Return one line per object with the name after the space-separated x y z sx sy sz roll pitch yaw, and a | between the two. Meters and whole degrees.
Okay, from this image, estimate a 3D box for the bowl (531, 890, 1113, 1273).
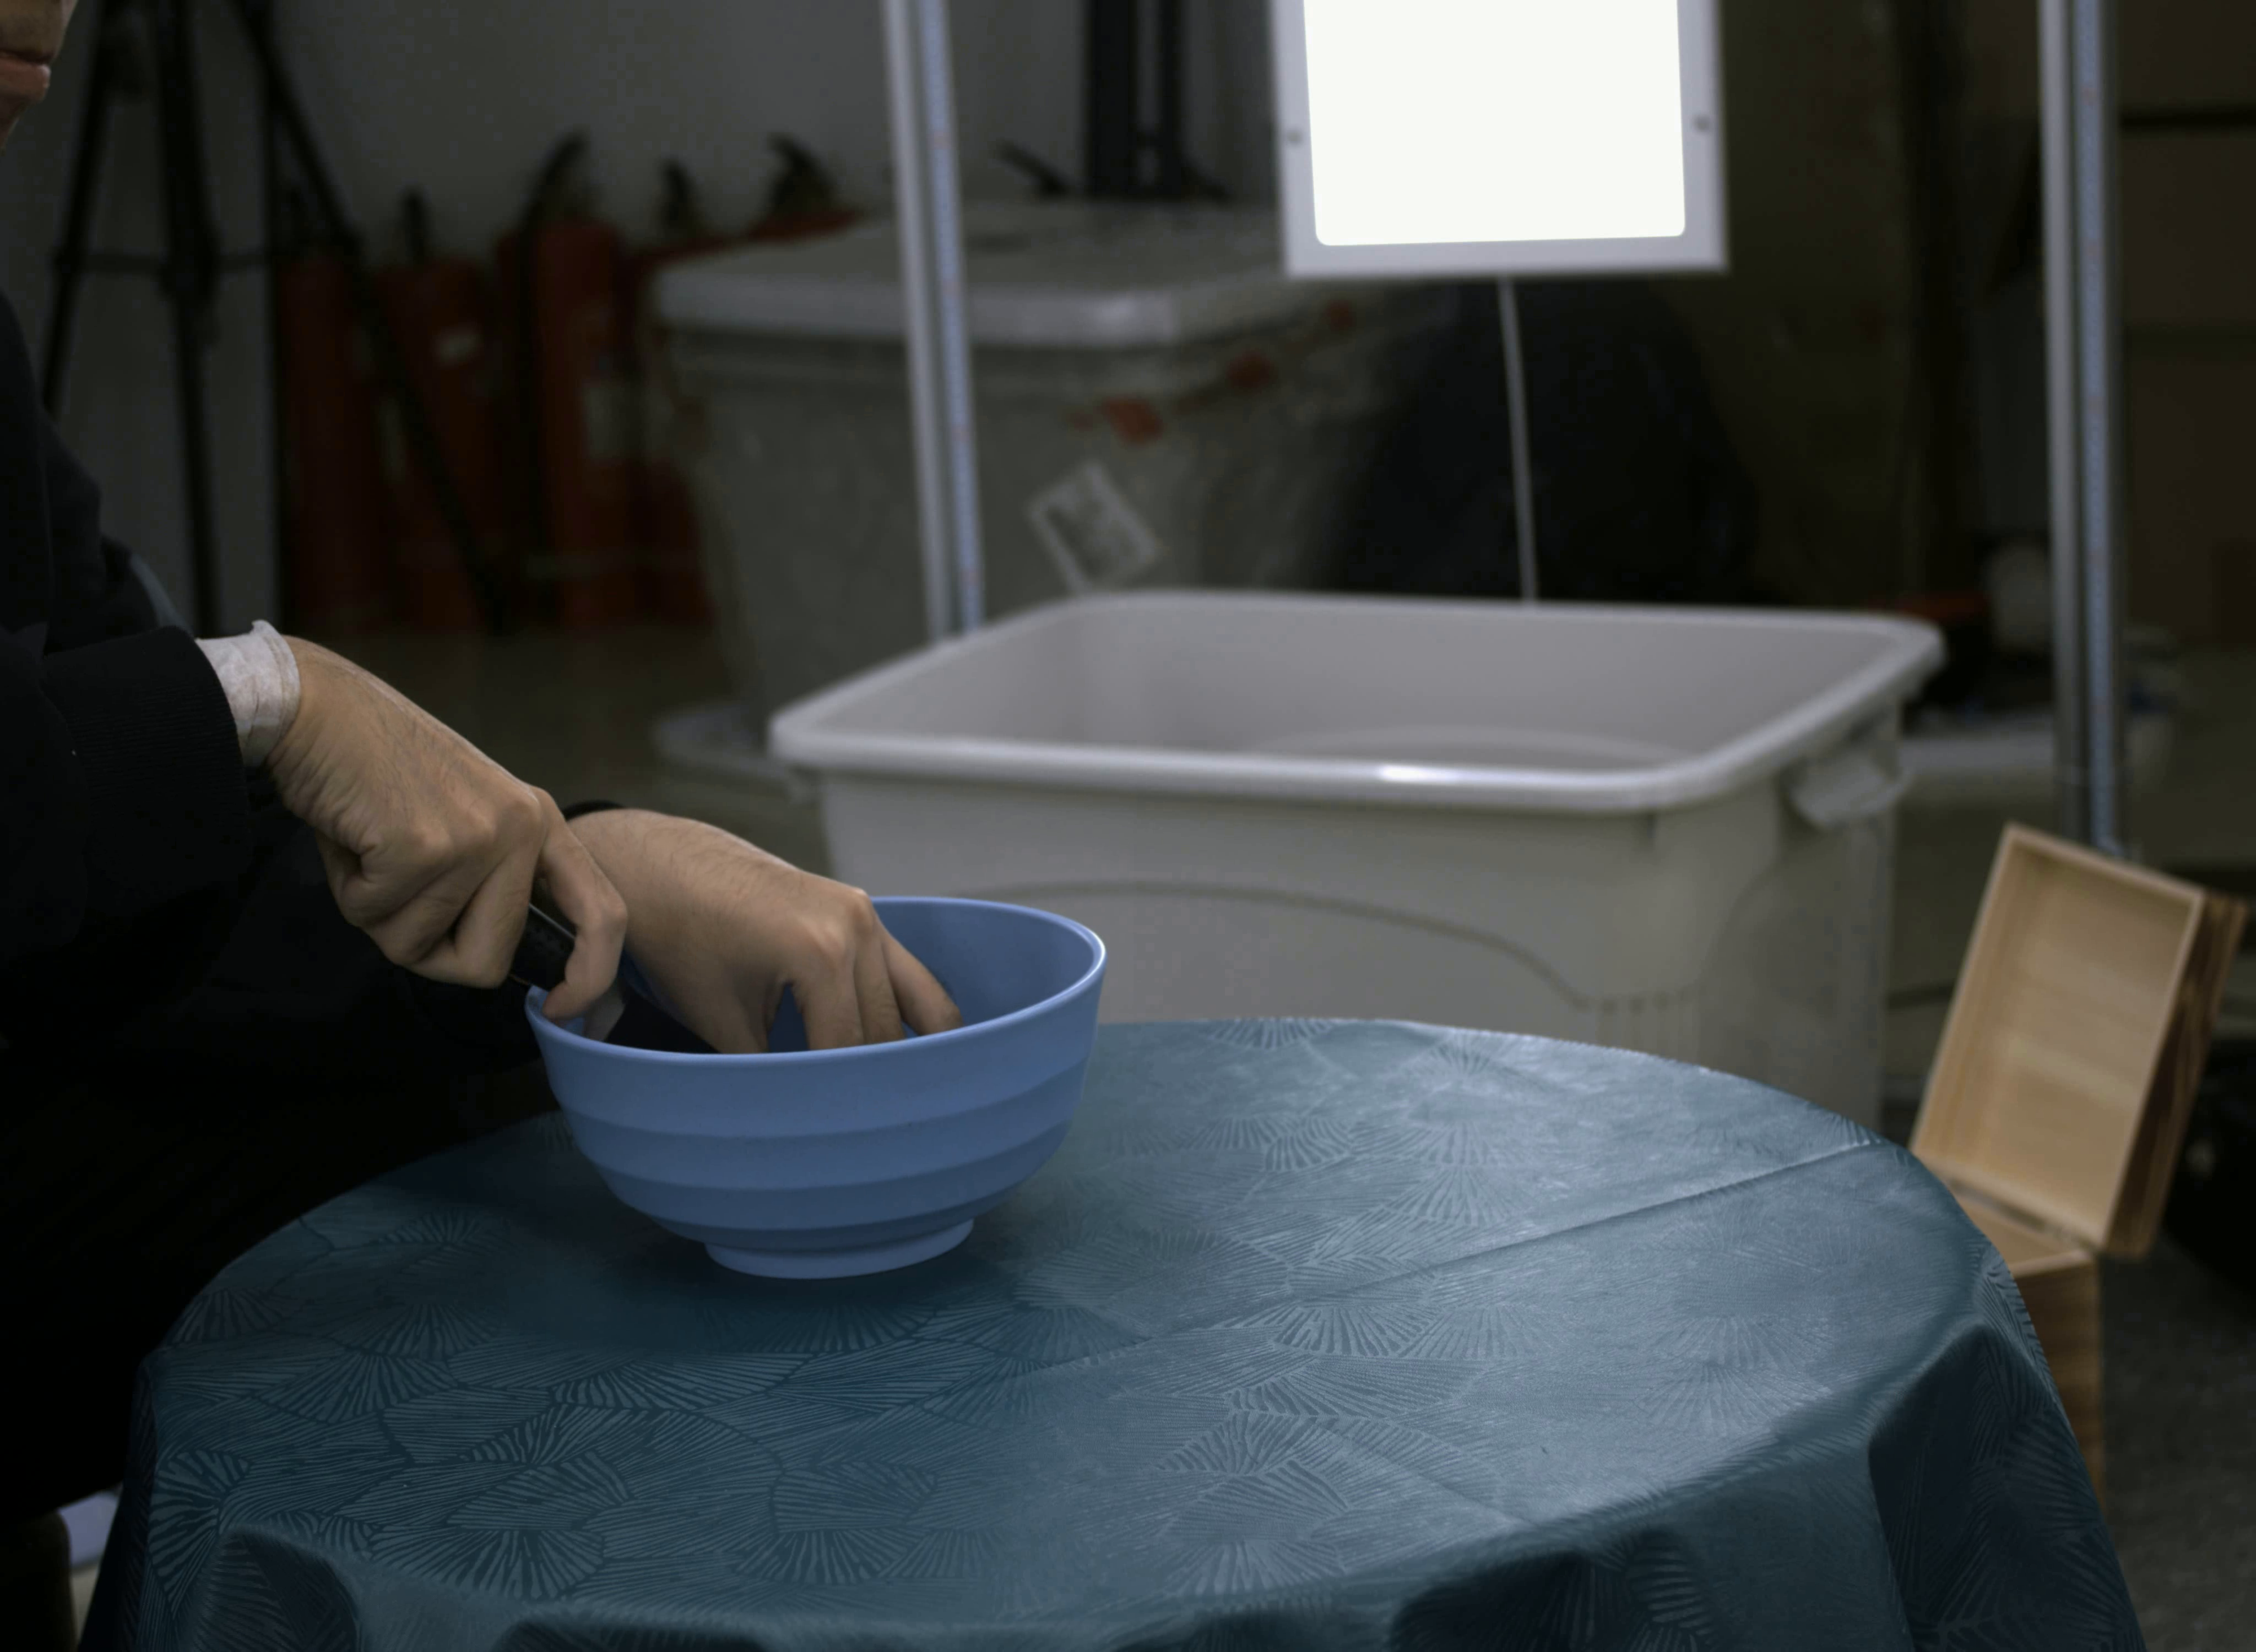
-0.102 0.092 1.864 0.196 0.096 0.196 -2 14 -1 | bowl

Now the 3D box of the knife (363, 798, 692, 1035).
-0.166 0.066 1.843 0.224 0.026 0.017 39 7 -9 | knife
